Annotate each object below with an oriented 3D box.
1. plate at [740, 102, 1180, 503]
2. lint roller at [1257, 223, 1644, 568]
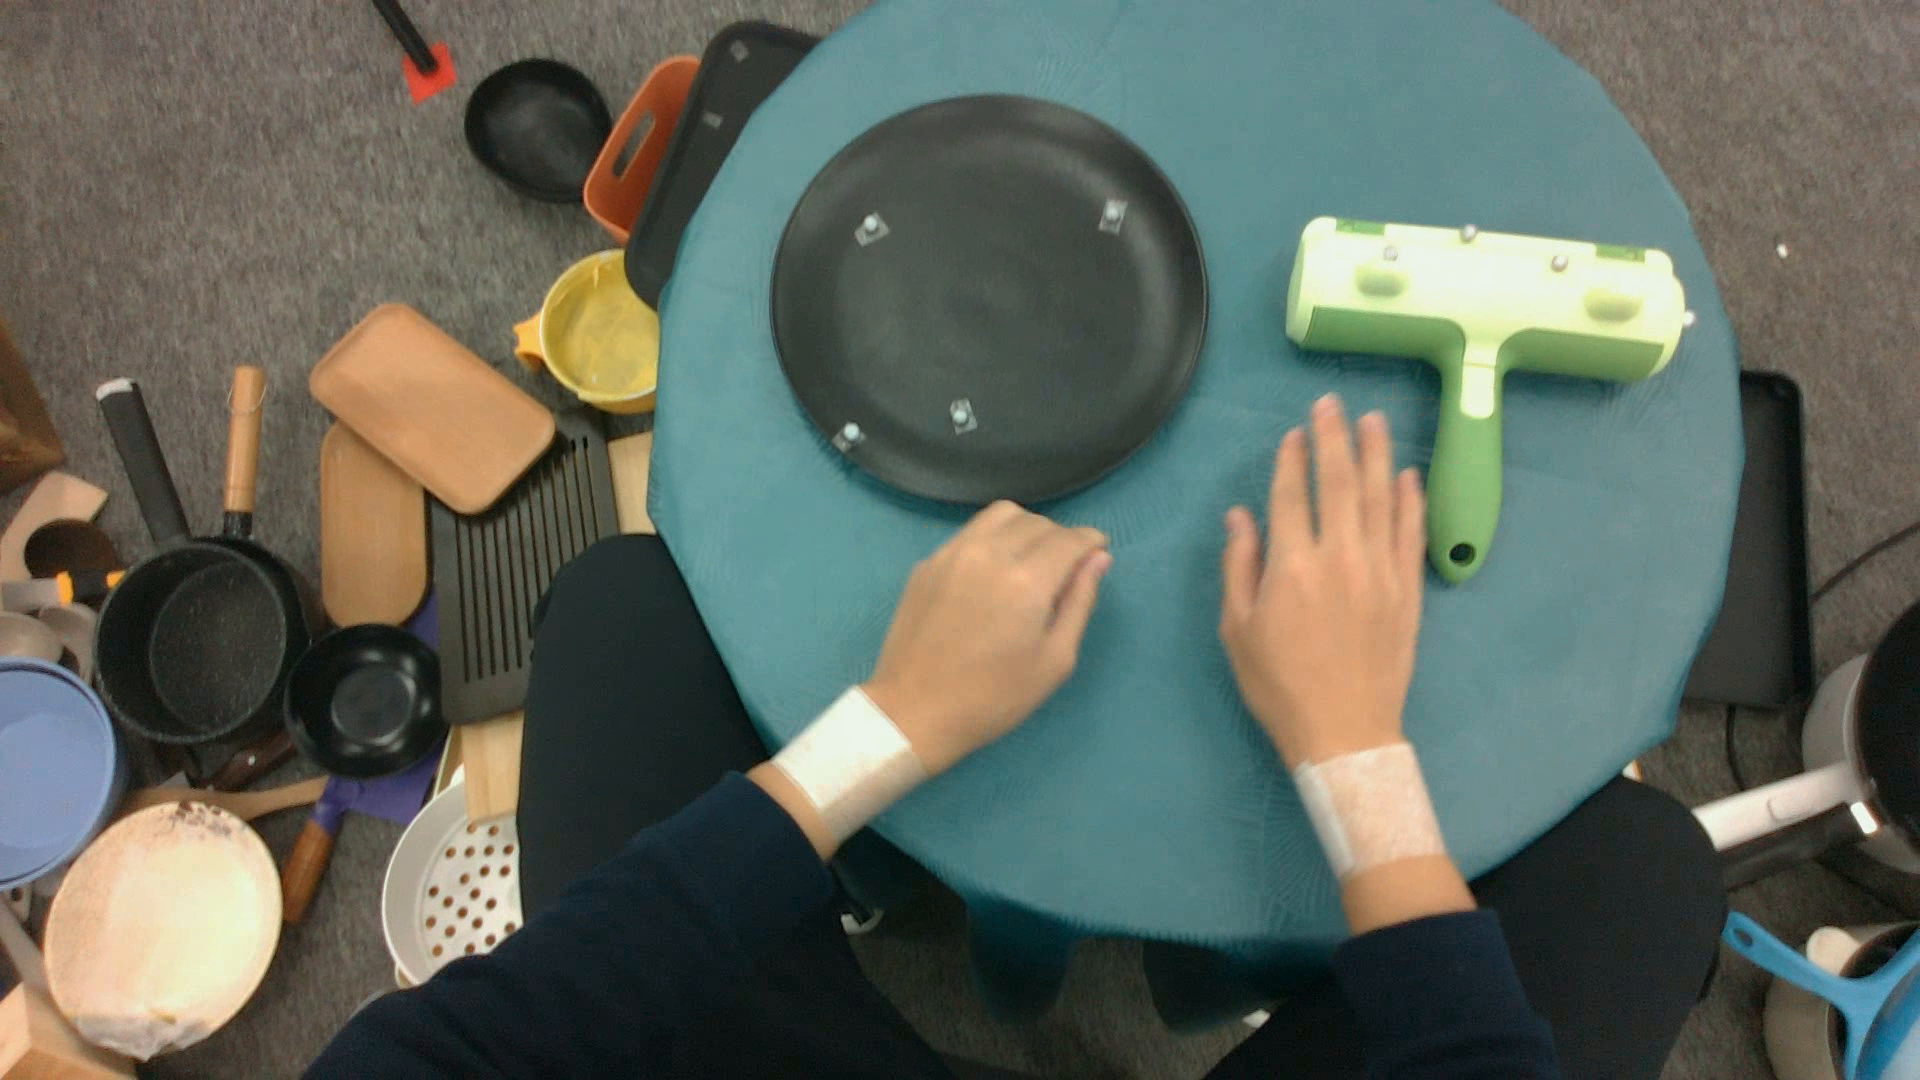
[{"bbox_3d":[0.000,-0.134,0.771,0.244,0.023,0.245,0,74,1],"label":"plate"},{"bbox_3d":[0.257,-0.082,0.719,0.198,0.082,0.184,5,67,4],"label":"lint roller"}]
